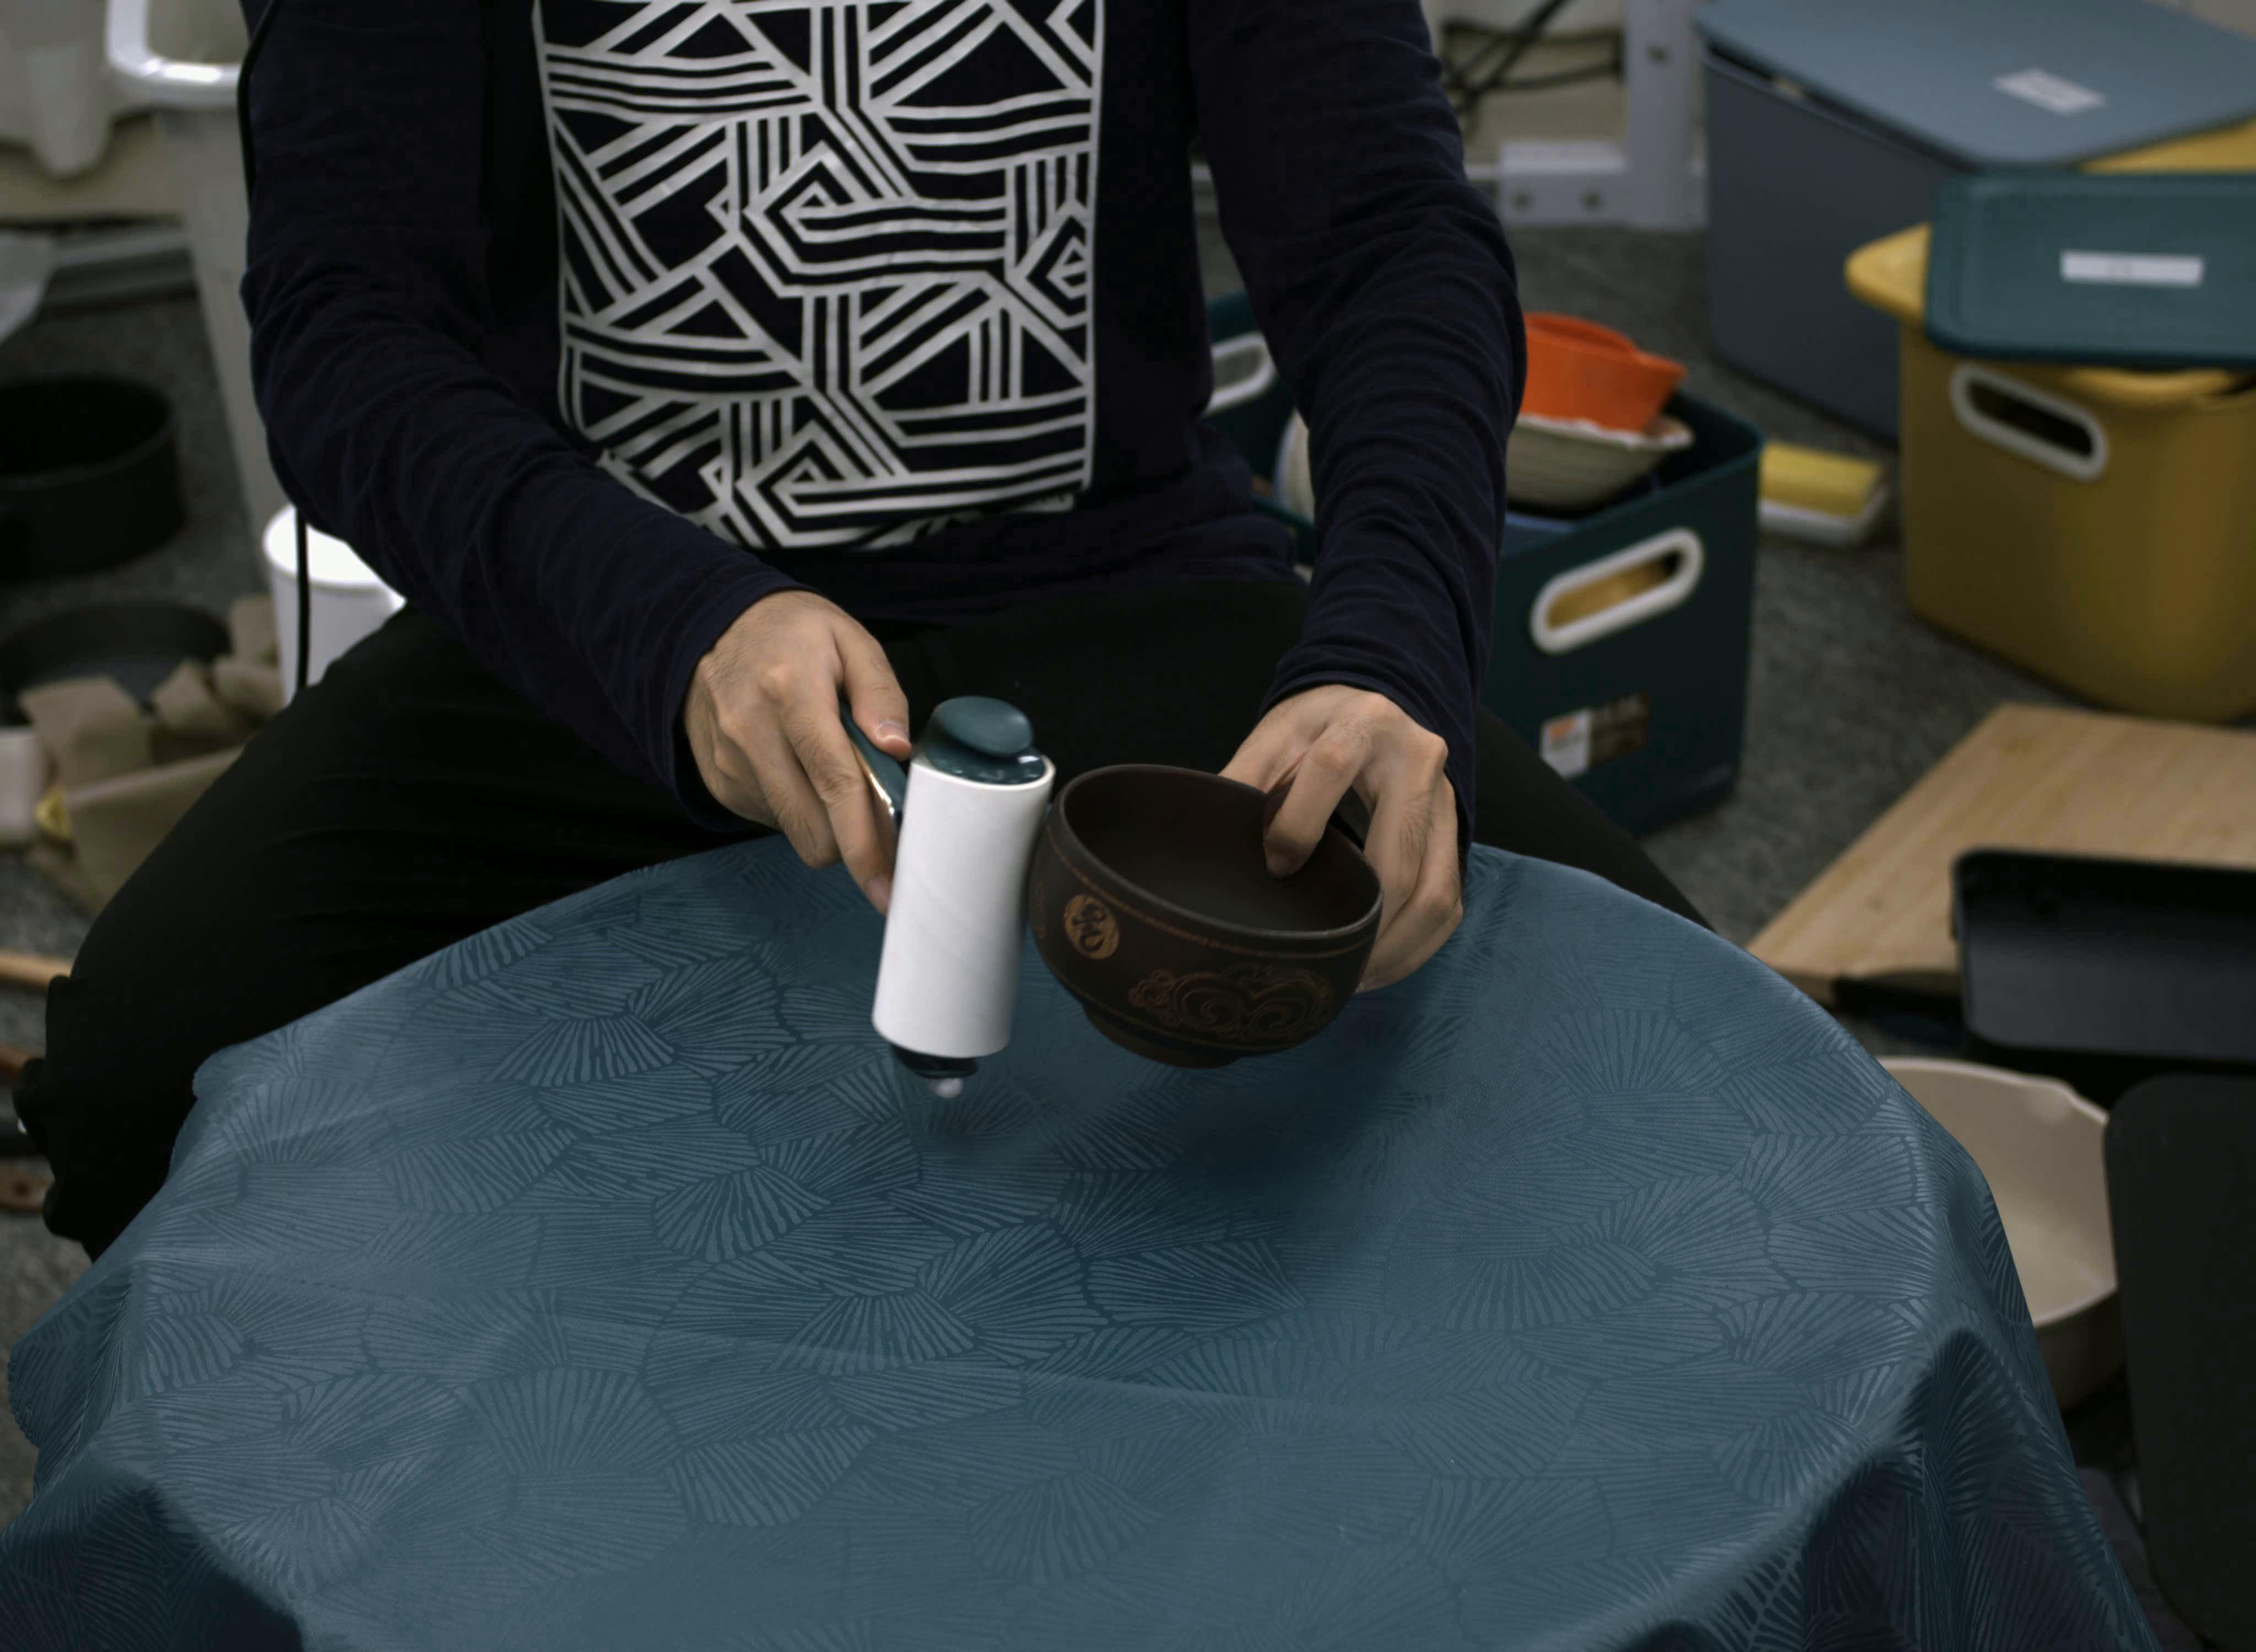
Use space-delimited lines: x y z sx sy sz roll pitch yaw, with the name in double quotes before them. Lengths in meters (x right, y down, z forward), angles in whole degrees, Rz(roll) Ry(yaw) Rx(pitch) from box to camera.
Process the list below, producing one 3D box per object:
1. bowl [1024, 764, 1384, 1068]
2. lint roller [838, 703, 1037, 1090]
"bowl" 0.021 0.036 1.858 0.117 0.069 0.119 13 24 -5
"lint roller" -0.085 0.000 1.926 0.048 0.133 0.181 6 18 -23
